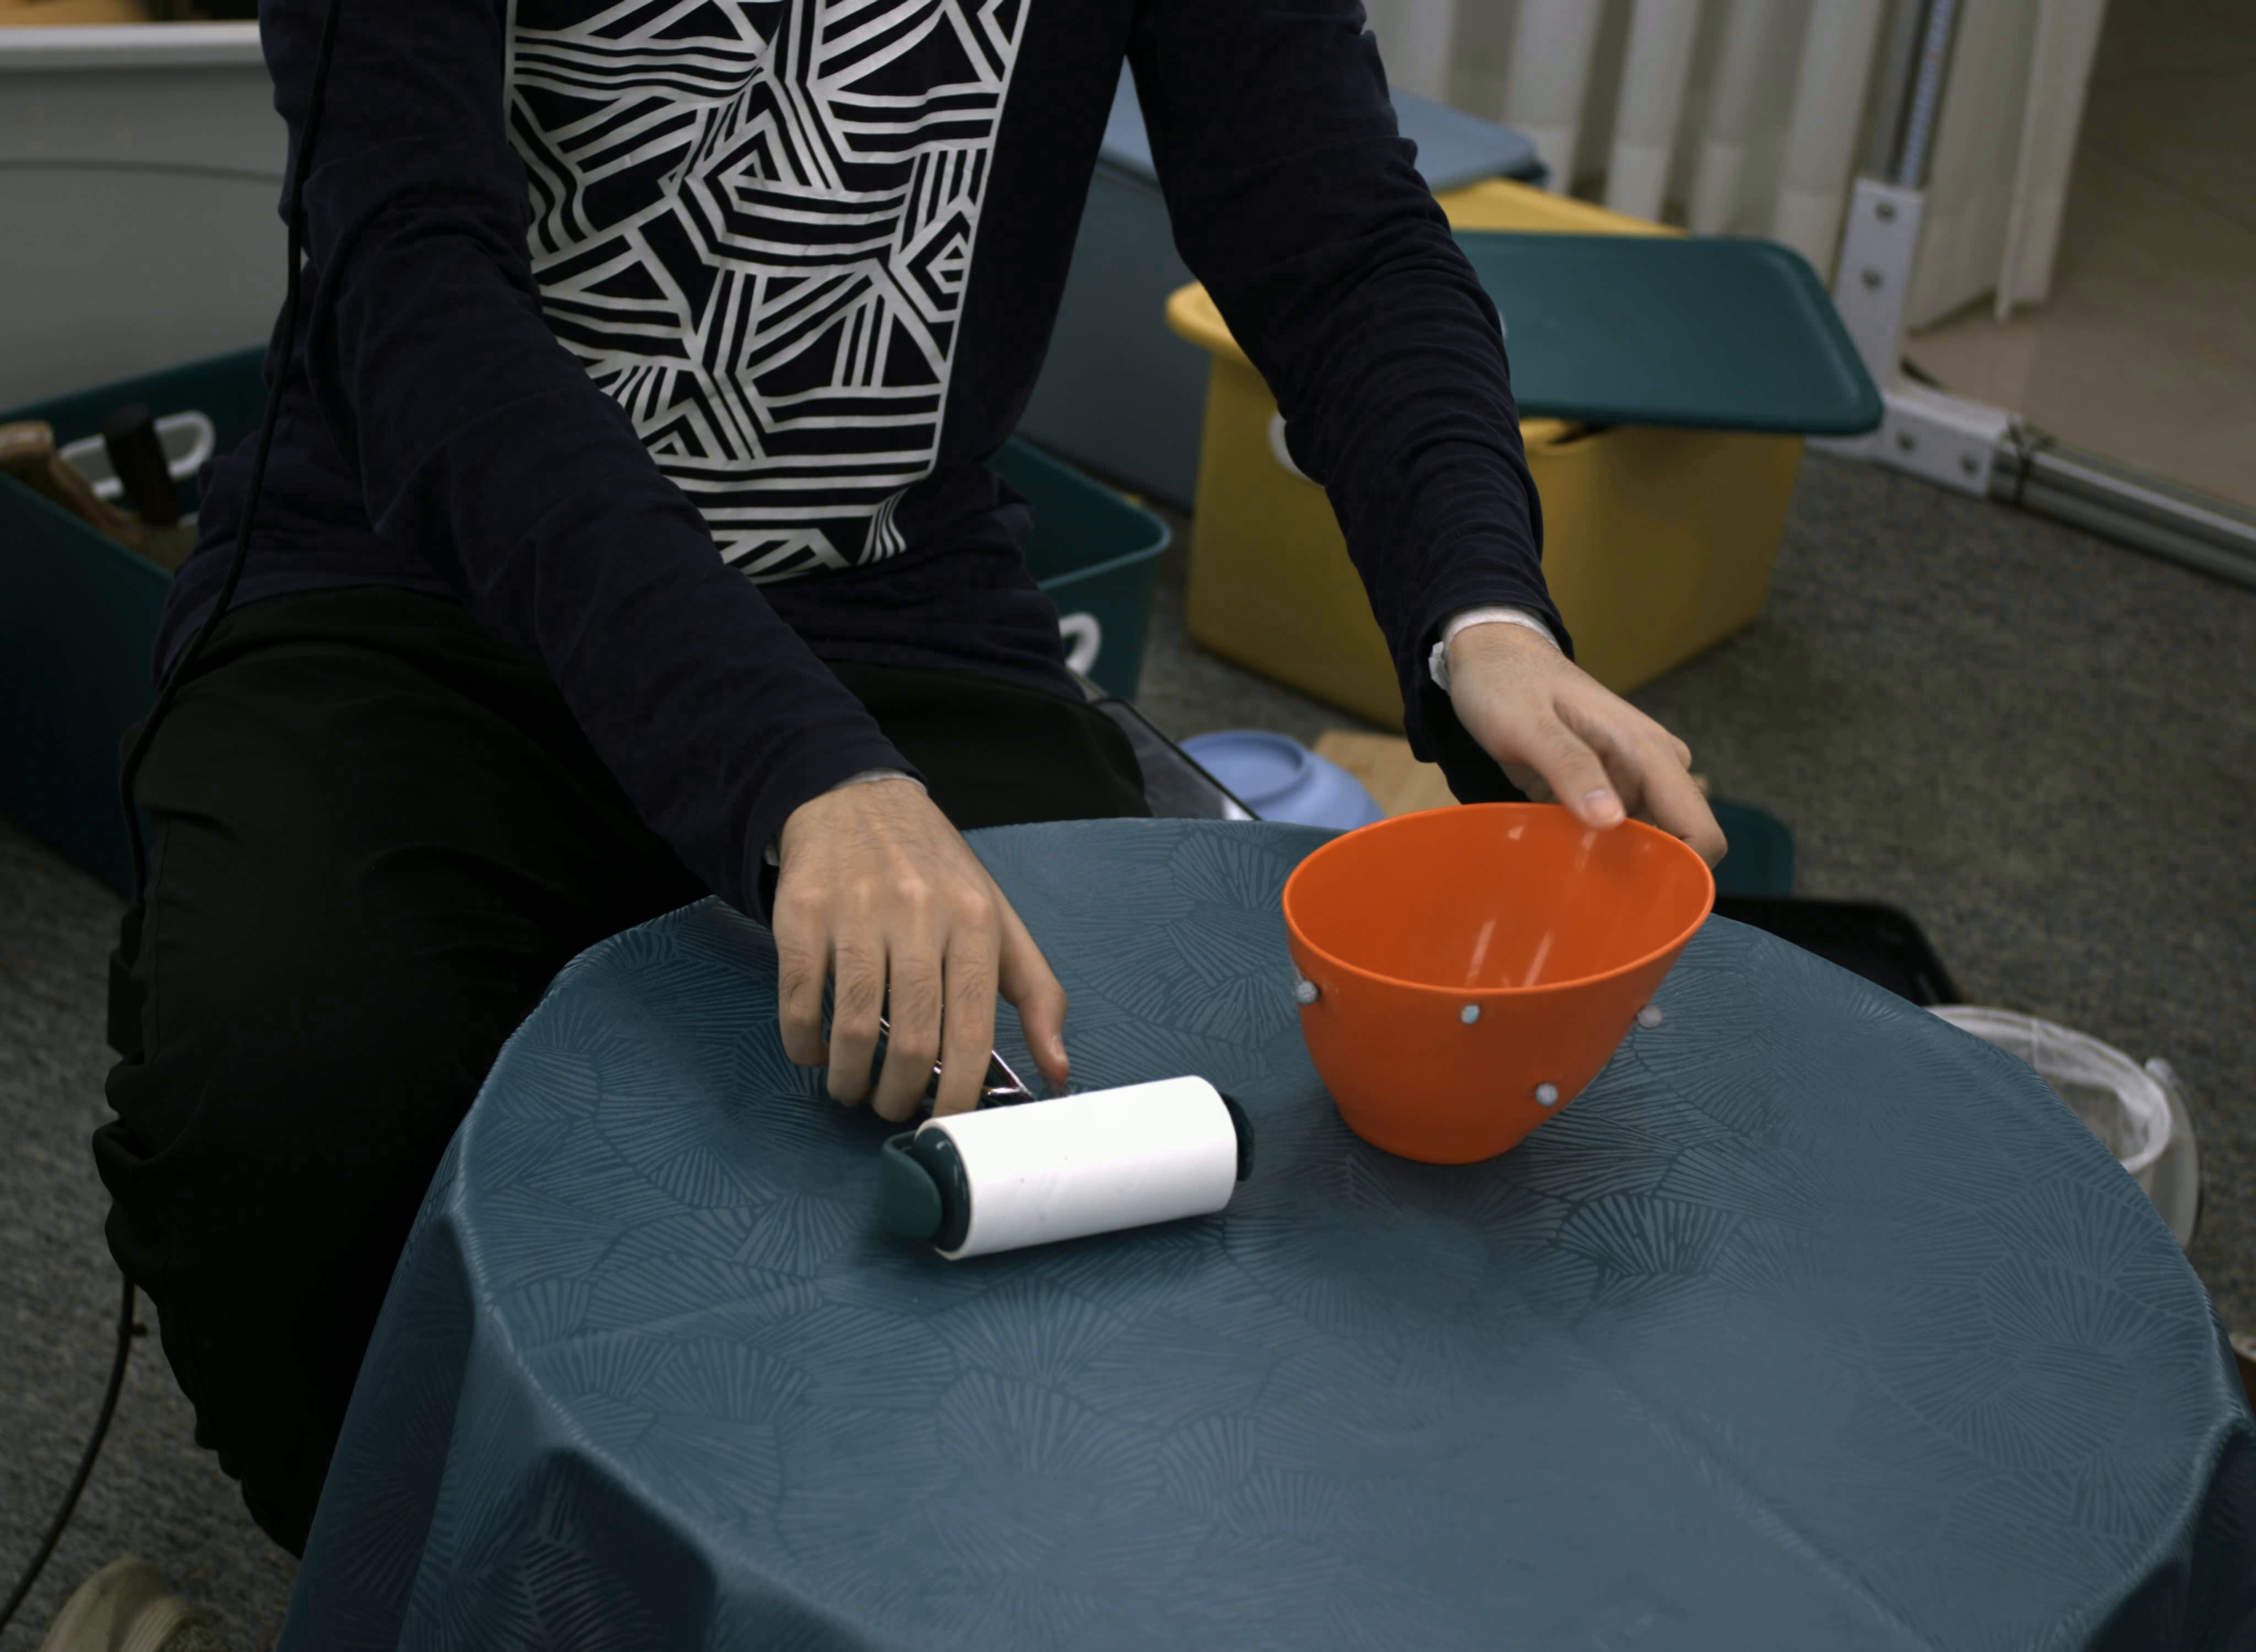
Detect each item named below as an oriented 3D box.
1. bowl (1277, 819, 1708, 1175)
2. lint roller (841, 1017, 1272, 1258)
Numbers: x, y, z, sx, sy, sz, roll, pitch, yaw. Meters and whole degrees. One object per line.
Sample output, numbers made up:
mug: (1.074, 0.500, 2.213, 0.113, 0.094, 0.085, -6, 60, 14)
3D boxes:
bowl: (0.121, 0.063, 1.851, 0.147, 0.104, 0.149, 5, 24, -3)
lint roller: (-0.050, 0.087, 1.823, 0.133, 0.048, 0.182, -9, 27, -27)
